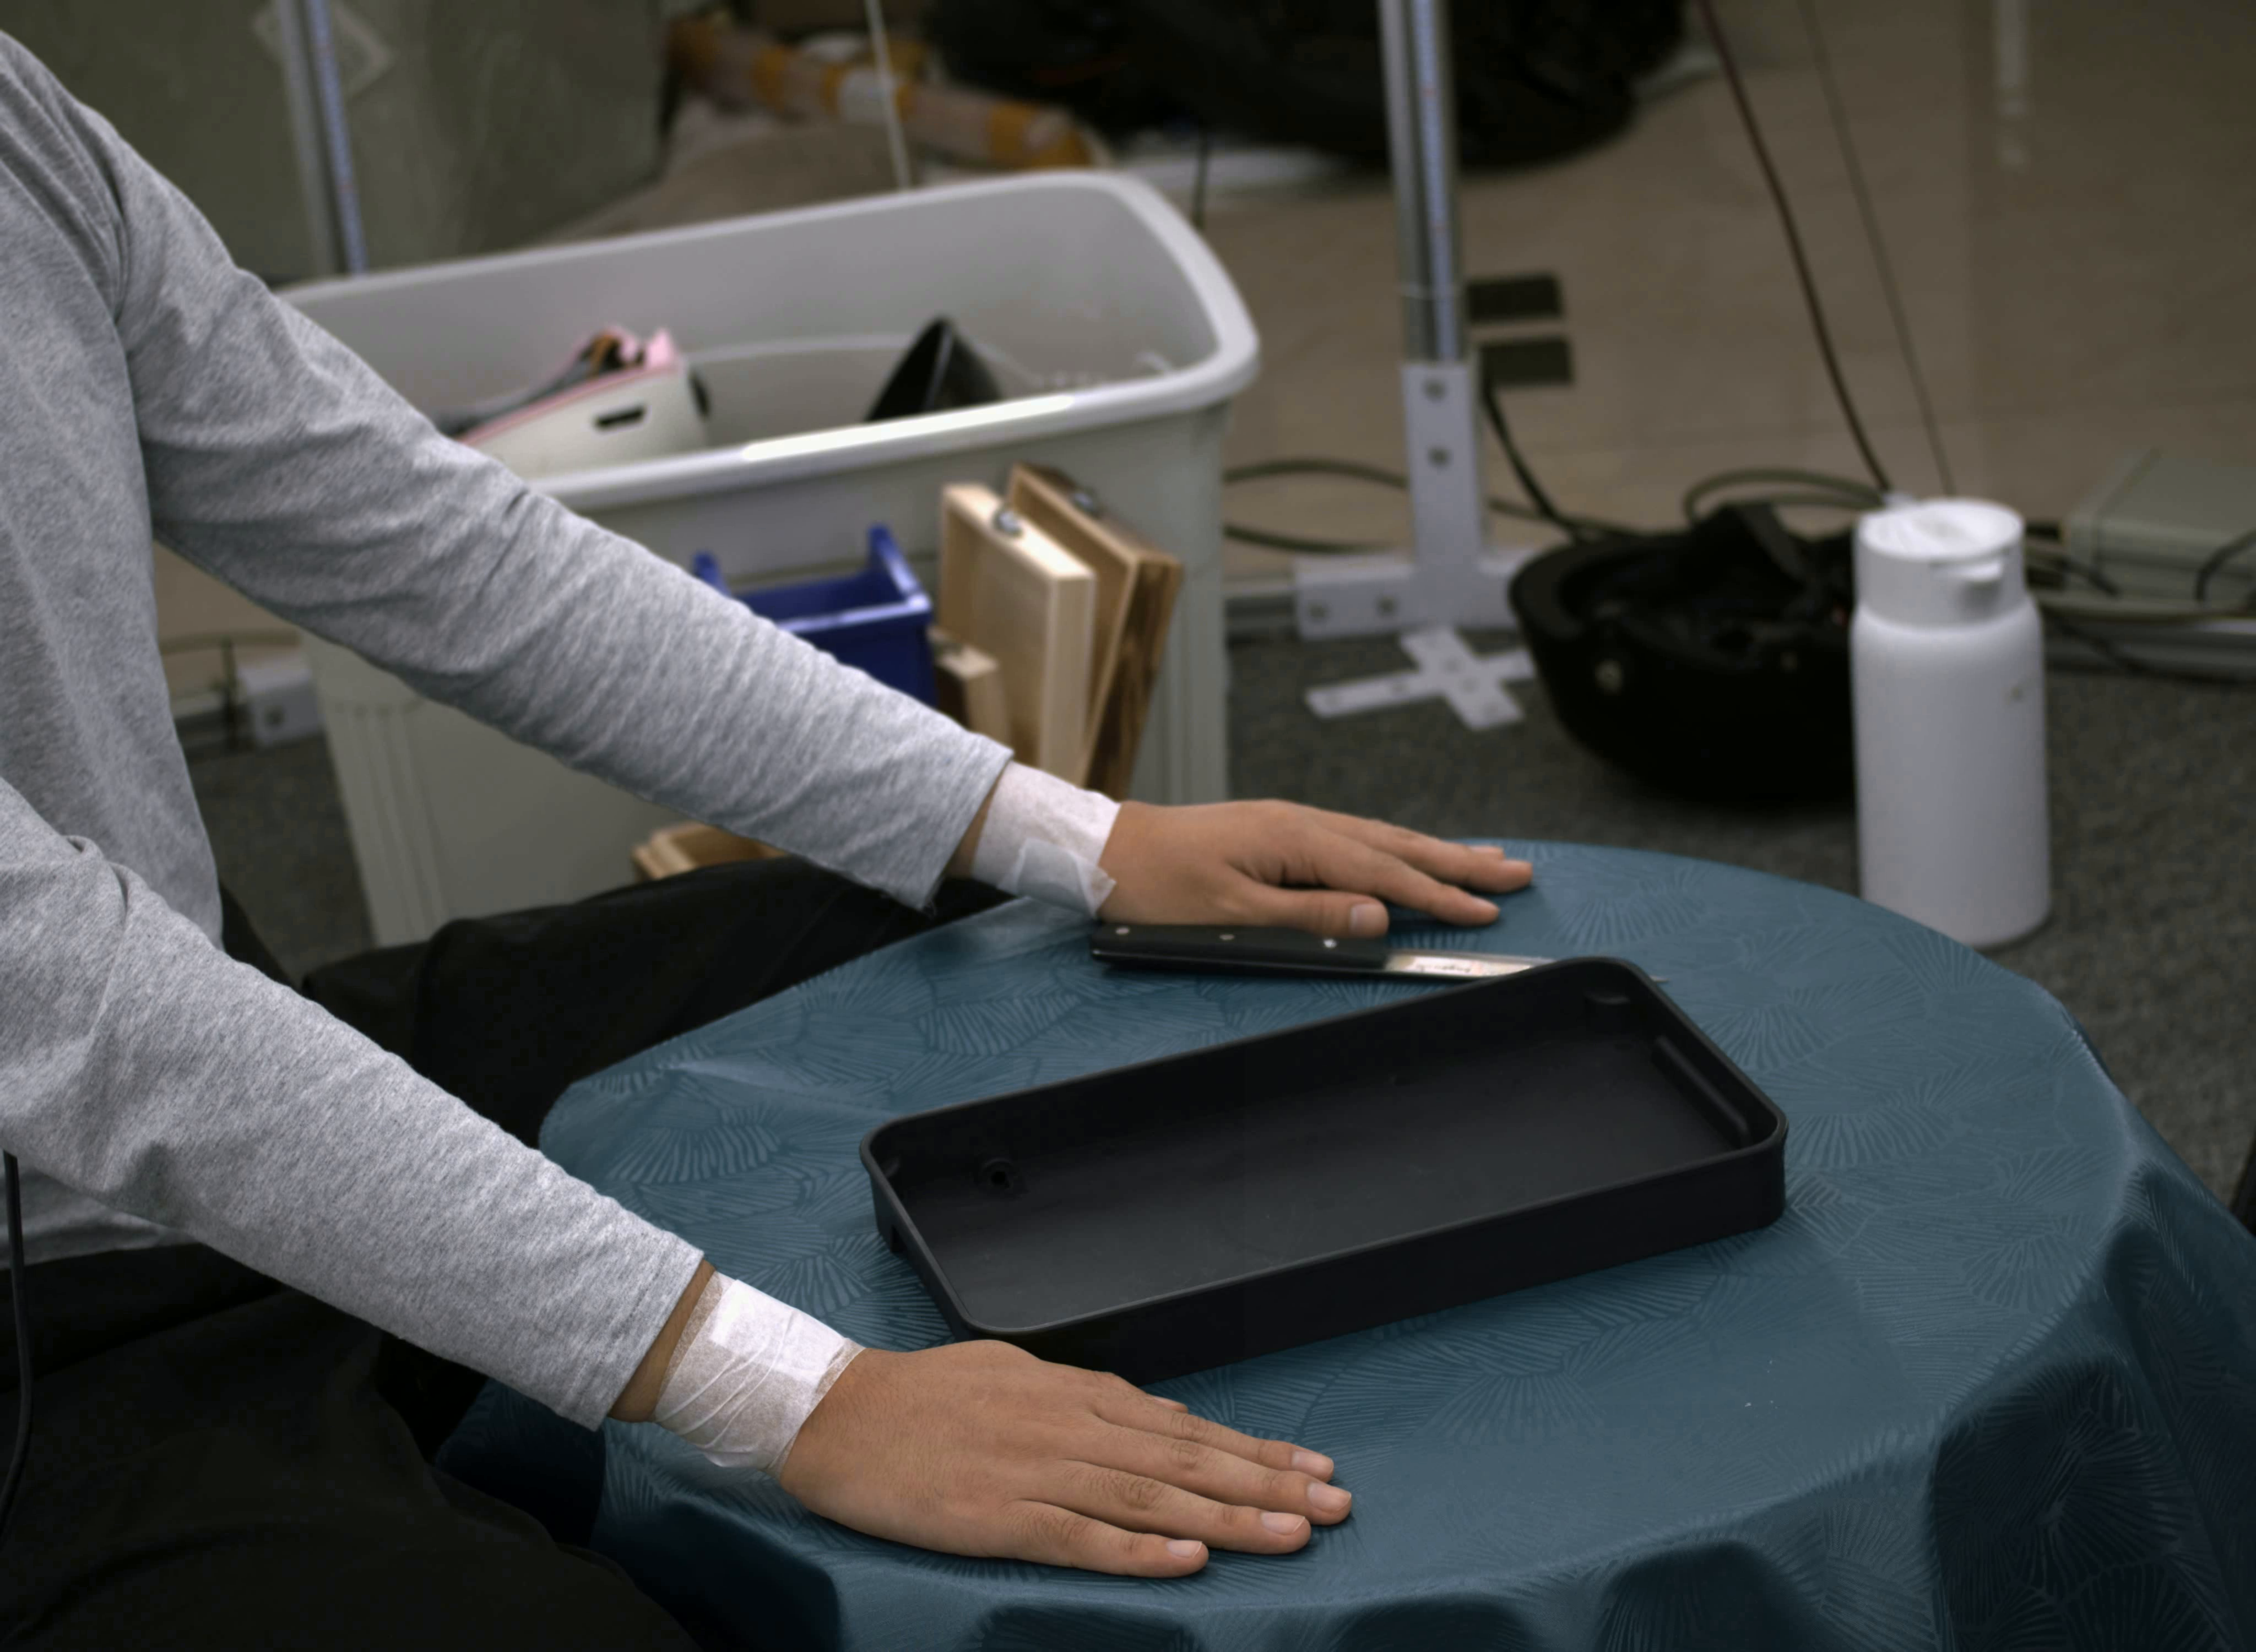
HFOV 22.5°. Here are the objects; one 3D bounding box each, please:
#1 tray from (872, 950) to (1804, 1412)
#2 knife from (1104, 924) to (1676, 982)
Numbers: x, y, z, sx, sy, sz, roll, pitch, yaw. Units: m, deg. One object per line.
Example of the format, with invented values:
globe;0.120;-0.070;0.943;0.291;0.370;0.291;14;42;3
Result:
tray;0.077;0.128;2.113;0.317;0.037;0.182;-14;25;-14
knife;0.103;0.055;2.295;0.237;0.016;0.024;3;28;14
